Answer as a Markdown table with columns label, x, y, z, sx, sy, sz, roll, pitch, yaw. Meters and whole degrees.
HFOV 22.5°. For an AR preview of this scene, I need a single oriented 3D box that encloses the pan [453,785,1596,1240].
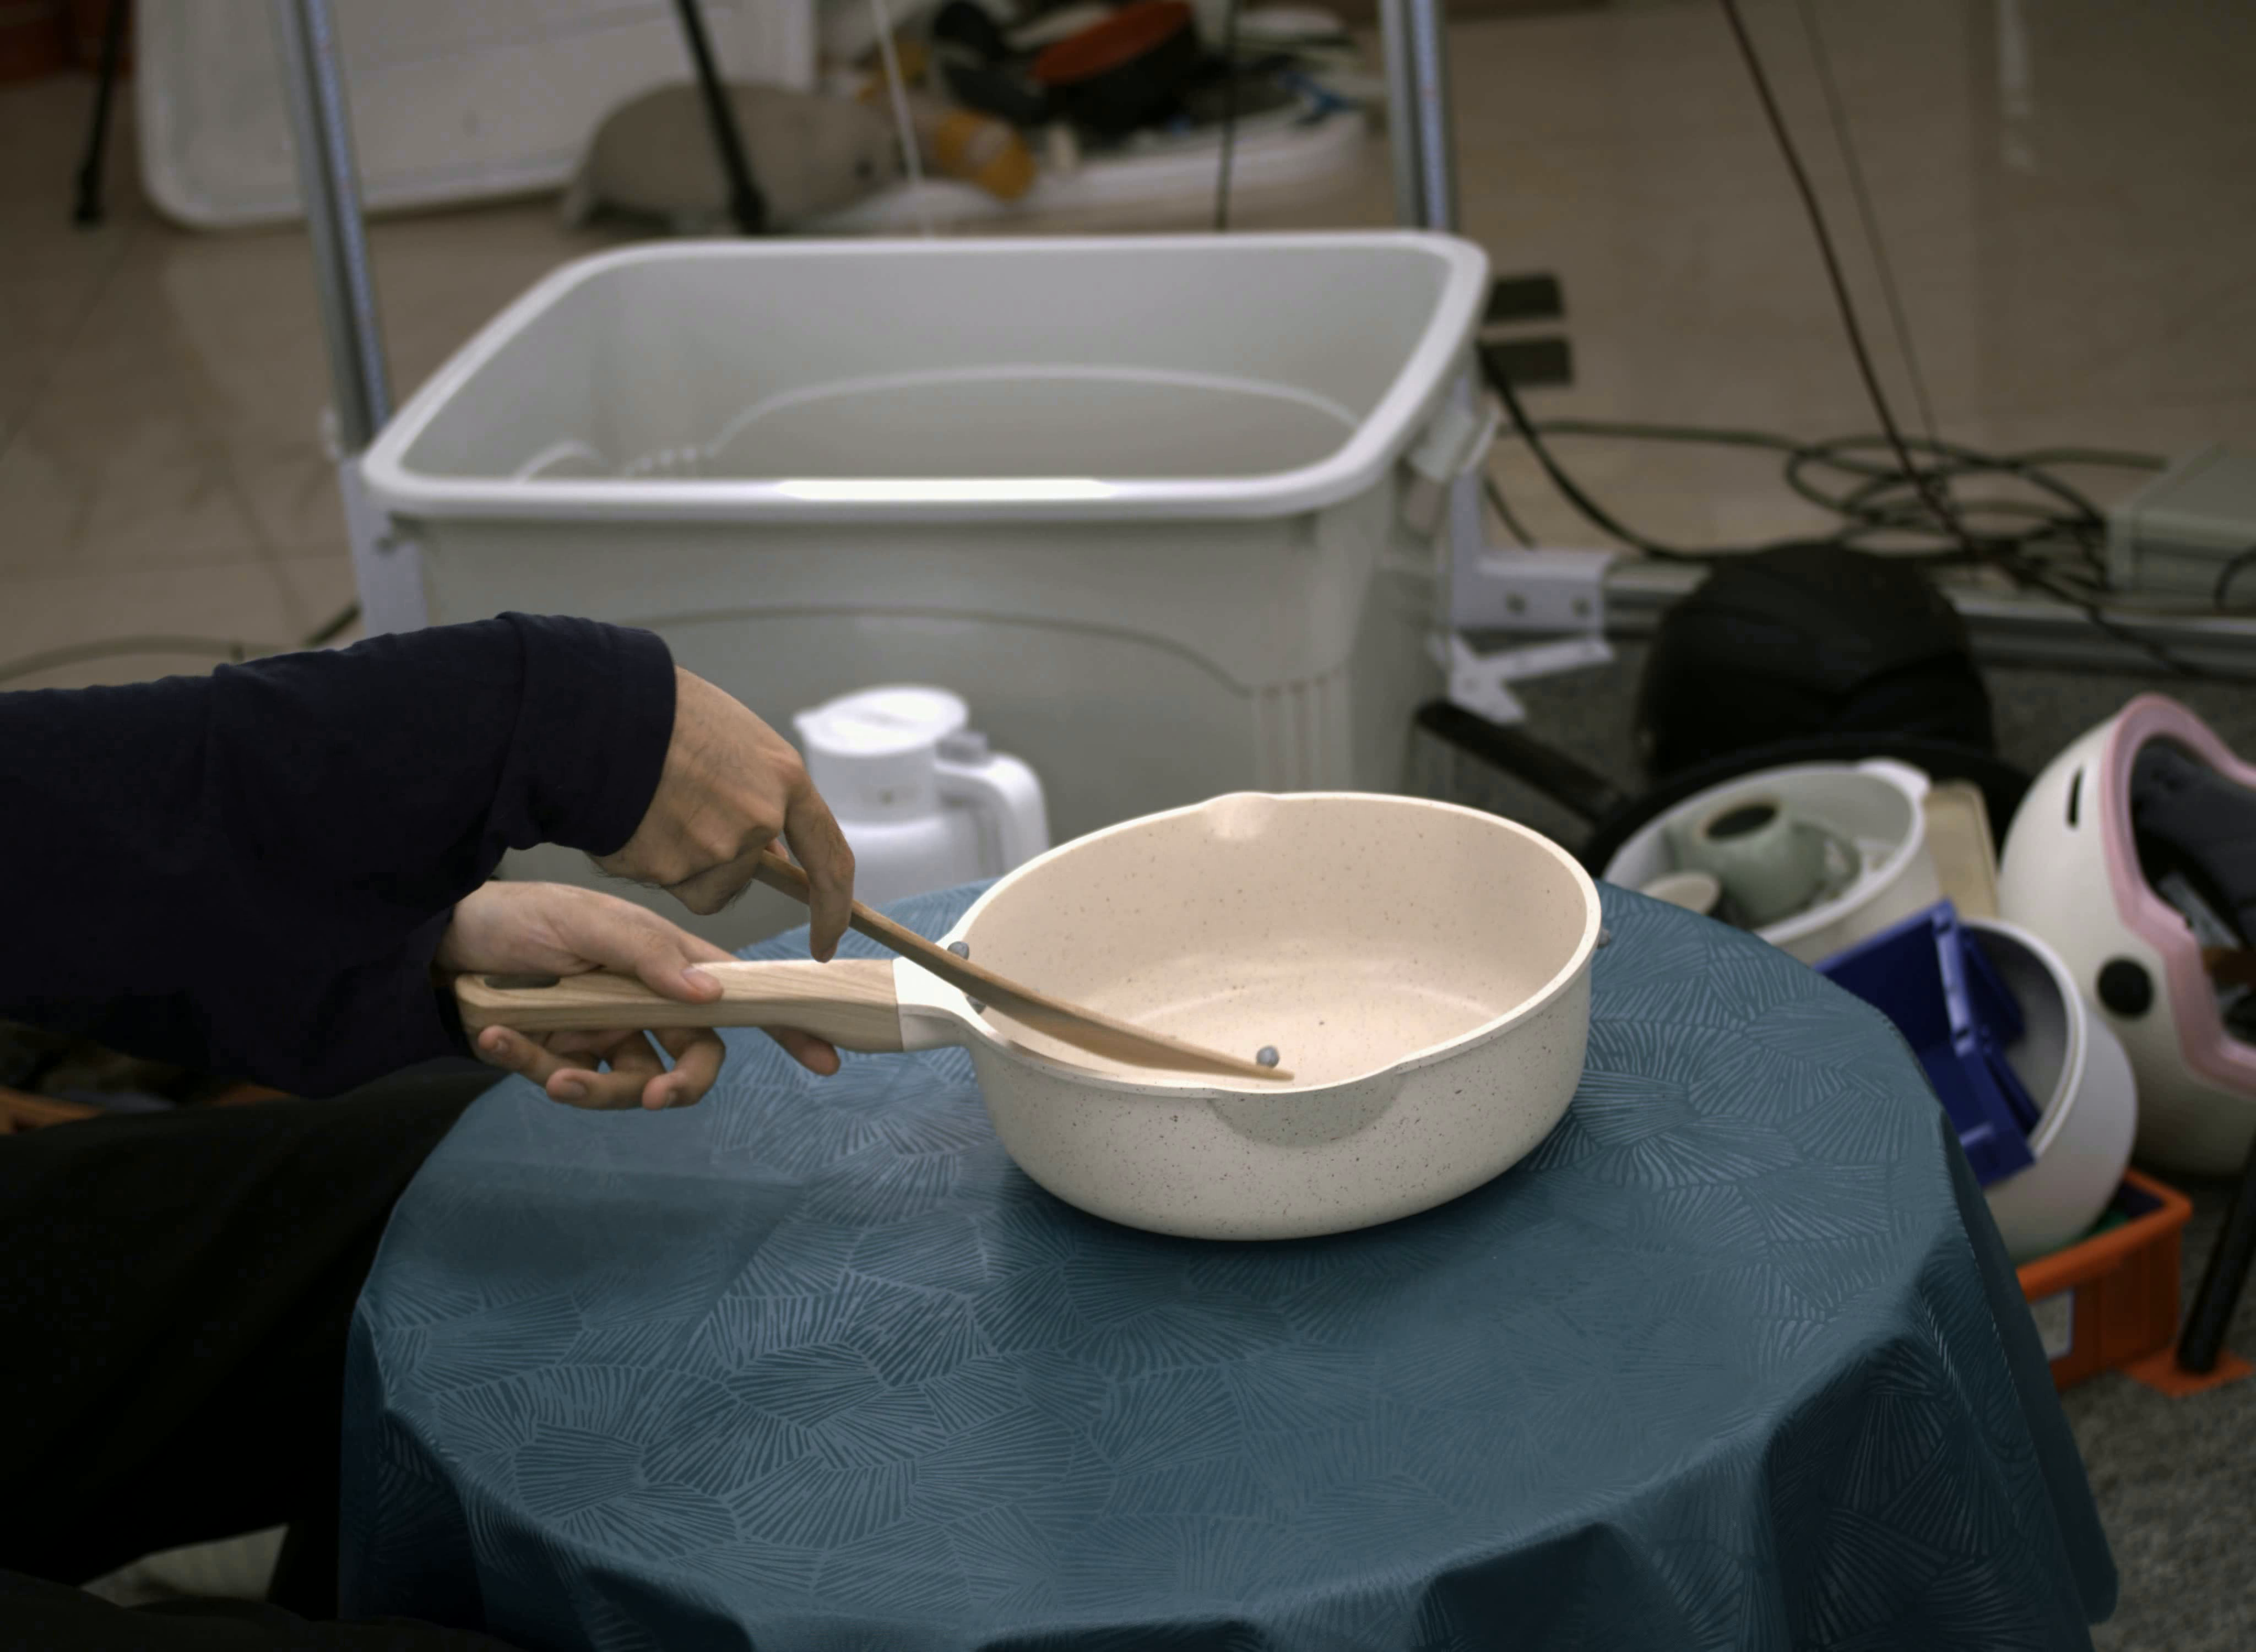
| label | x | y | z | sx | sy | sz | roll | pitch | yaw |
| --- | --- | --- | --- | --- | --- | --- | --- | --- | --- |
| pan | -0.035 | 0.081 | 2.166 | 0.434 | 0.103 | 0.259 | -8 | 26 | -3 |

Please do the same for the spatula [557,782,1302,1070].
| label | x | y | z | sx | sy | sz | roll | pitch | yaw |
| --- | --- | --- | --- | --- | --- | --- | --- | --- | --- |
| spatula | -0.074 | 0.041 | 2.036 | 0.330 | 0.016 | 0.080 | 26 | -16 | -37 |
